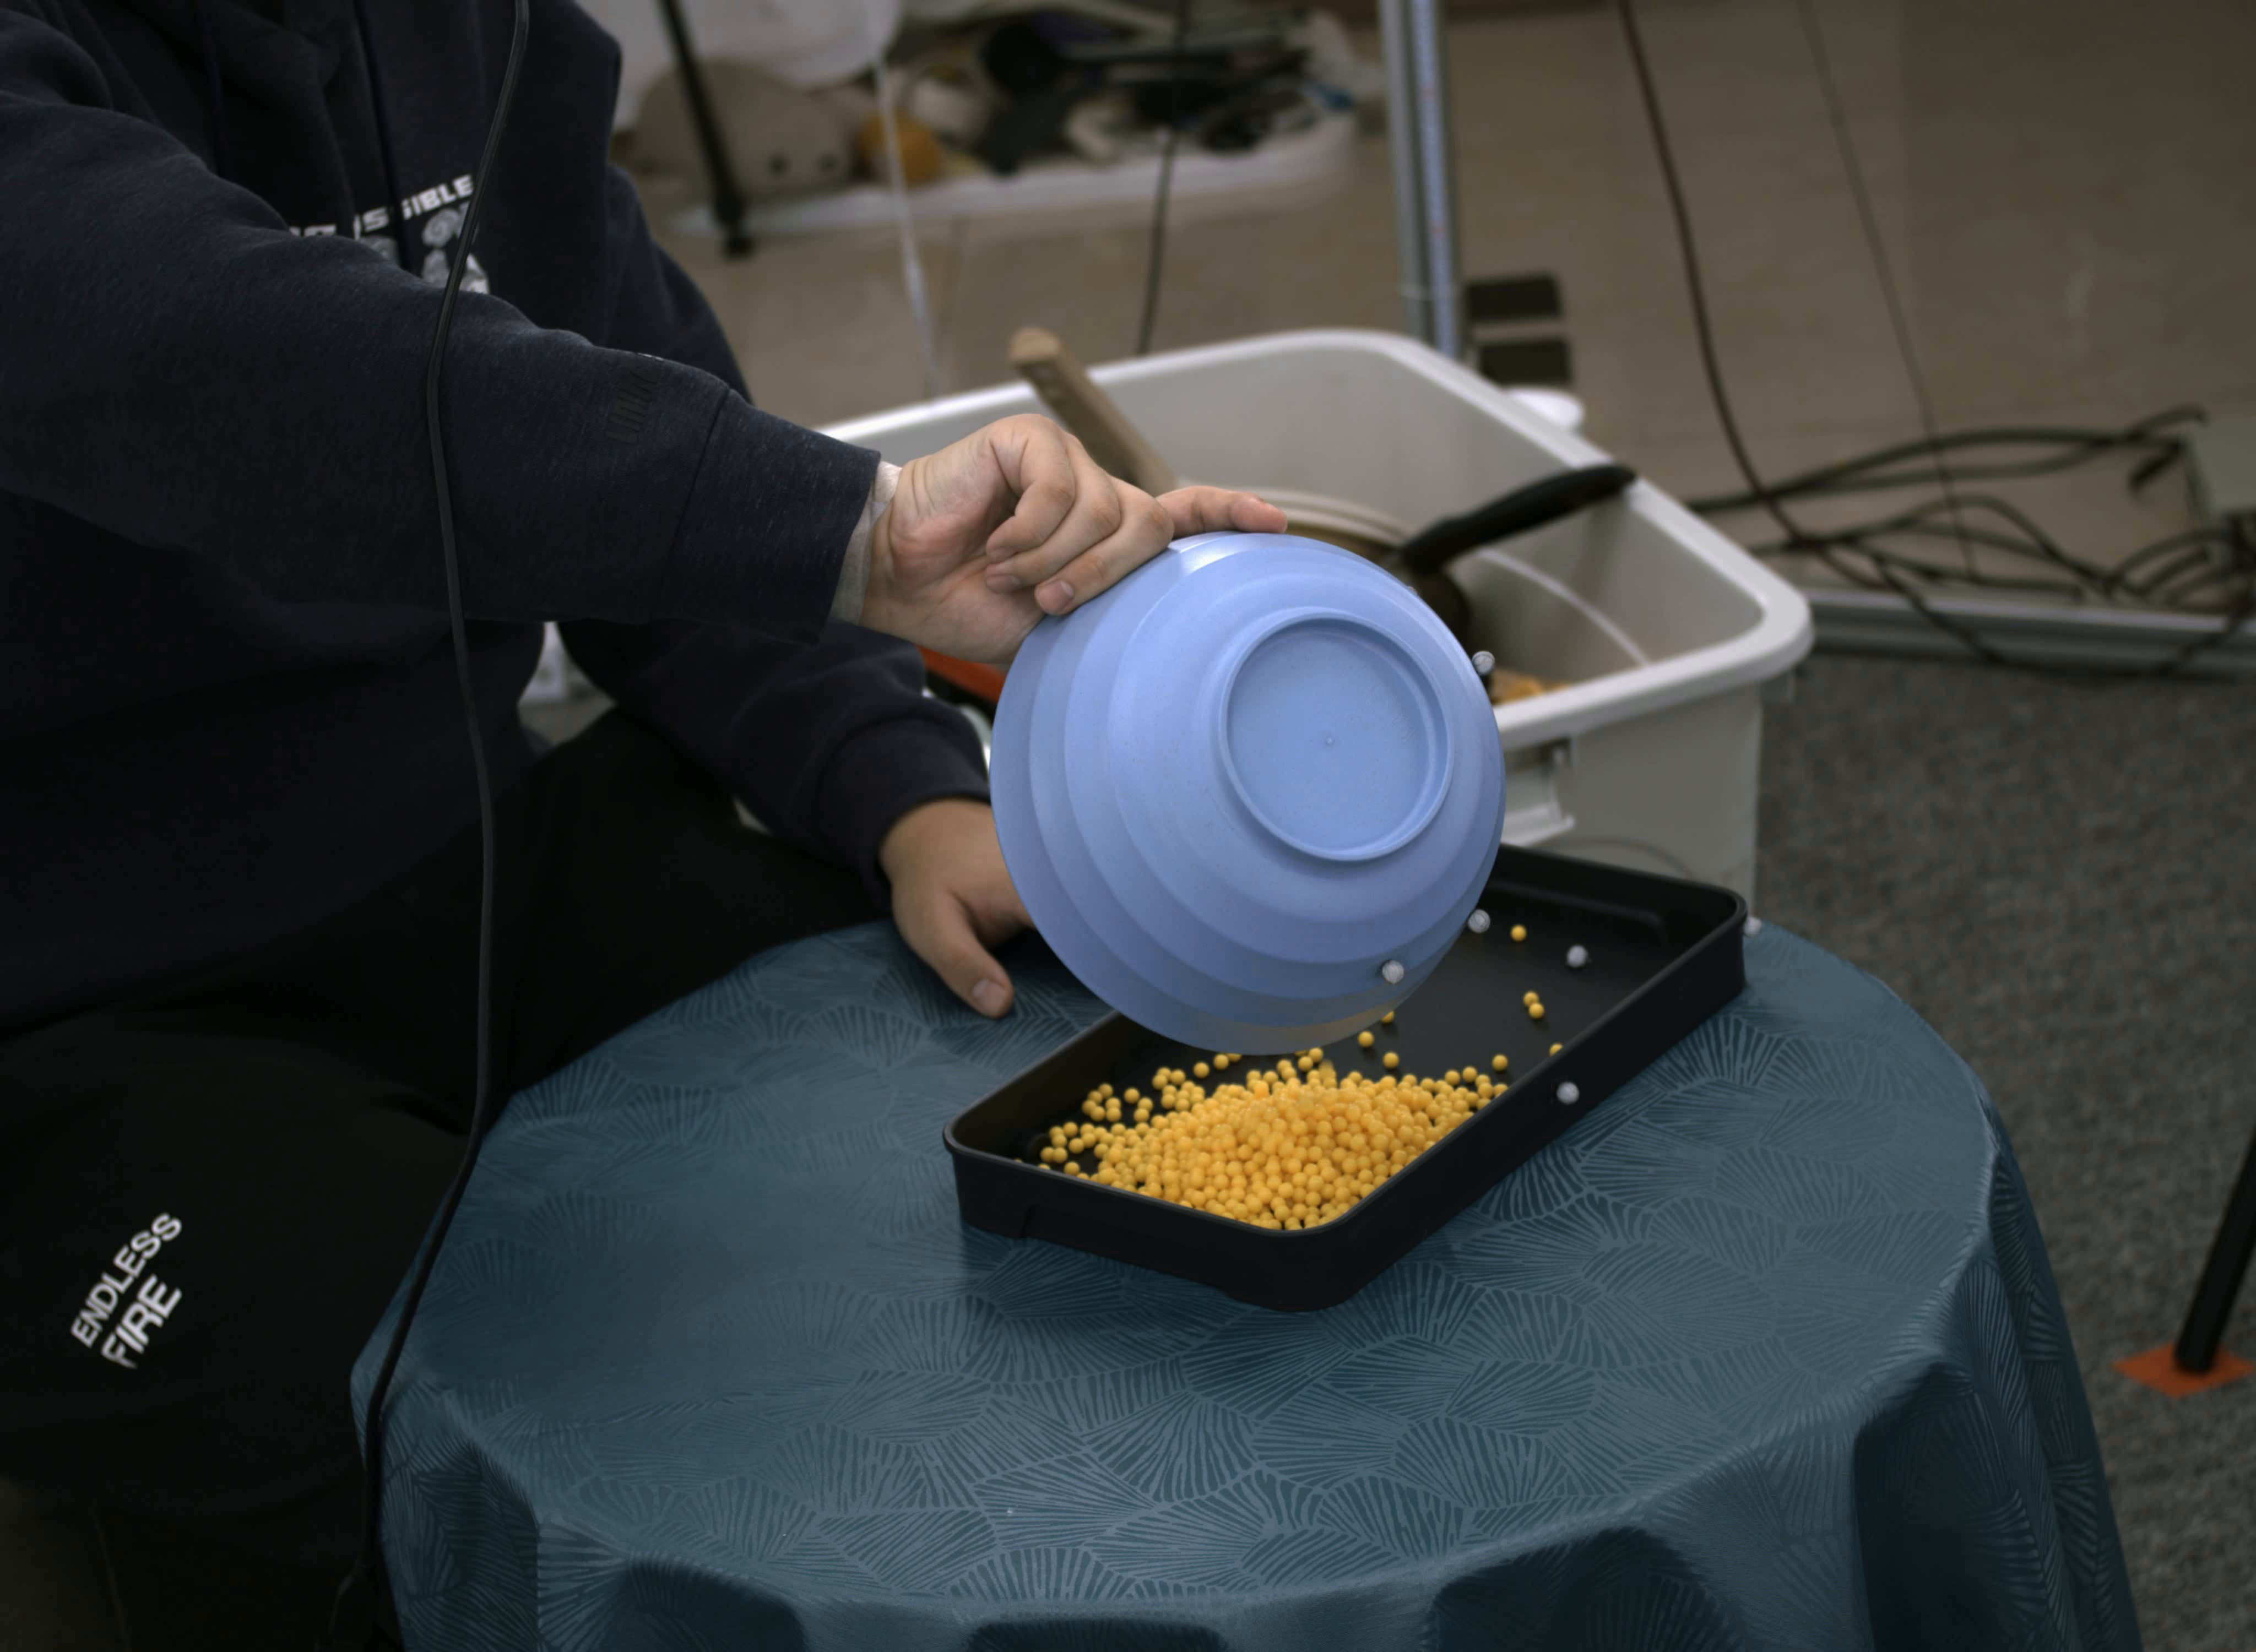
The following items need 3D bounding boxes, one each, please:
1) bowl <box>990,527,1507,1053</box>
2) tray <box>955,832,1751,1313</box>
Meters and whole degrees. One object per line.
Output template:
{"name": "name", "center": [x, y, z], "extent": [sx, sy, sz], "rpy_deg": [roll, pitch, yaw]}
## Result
{"name": "bowl", "center": [0.057, -0.023, 2.043], "extent": [0.195, 0.196, 0.096], "rpy_deg": [-18, -3, -23]}
{"name": "tray", "center": [0.093, 0.087, 2.199], "extent": [0.183, 0.037, 0.314], "rpy_deg": [11, 31, 35]}
